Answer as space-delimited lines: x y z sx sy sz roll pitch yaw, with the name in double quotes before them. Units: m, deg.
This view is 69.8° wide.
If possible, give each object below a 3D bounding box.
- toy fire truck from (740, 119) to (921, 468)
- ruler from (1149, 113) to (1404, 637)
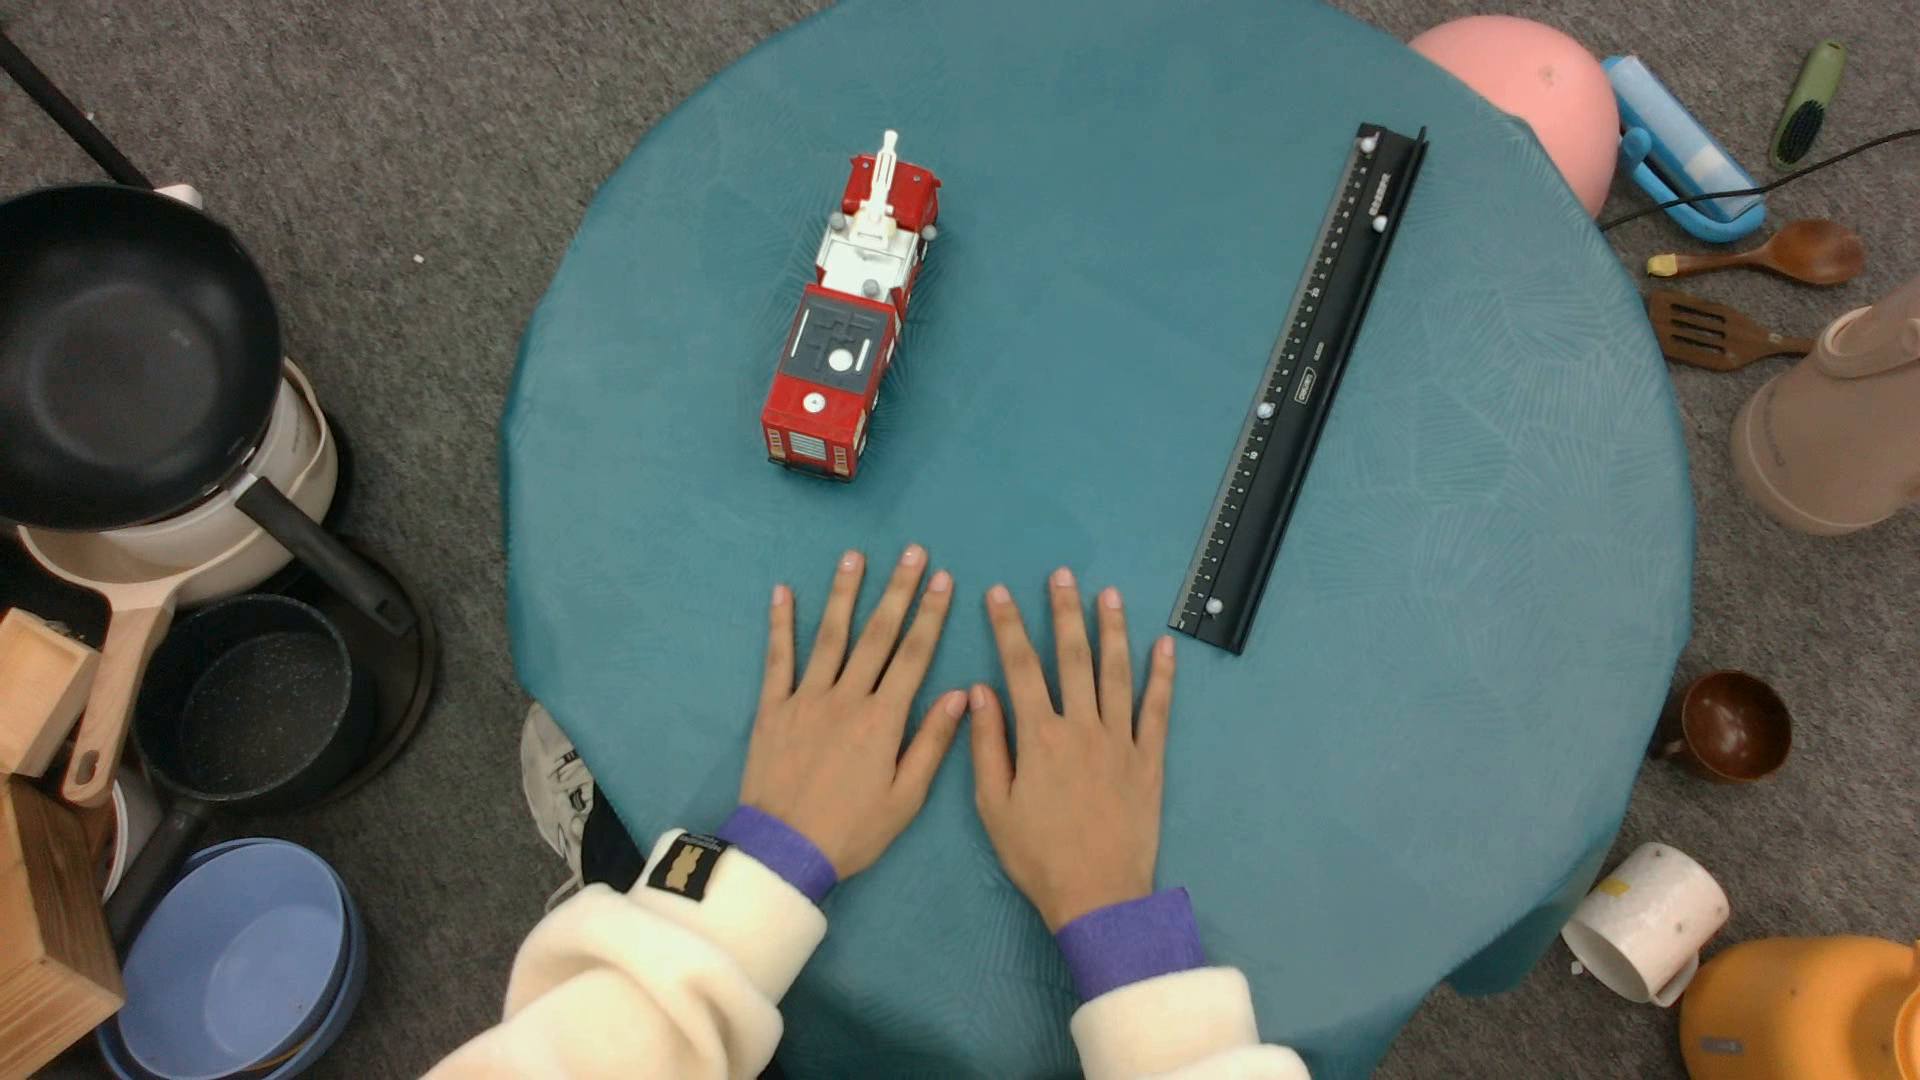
"toy fire truck" -0.064 -0.121 0.686 0.054 0.070 0.168 15 73 2
"ruler" 0.169 -0.098 0.711 0.039 0.017 0.313 22 72 8
